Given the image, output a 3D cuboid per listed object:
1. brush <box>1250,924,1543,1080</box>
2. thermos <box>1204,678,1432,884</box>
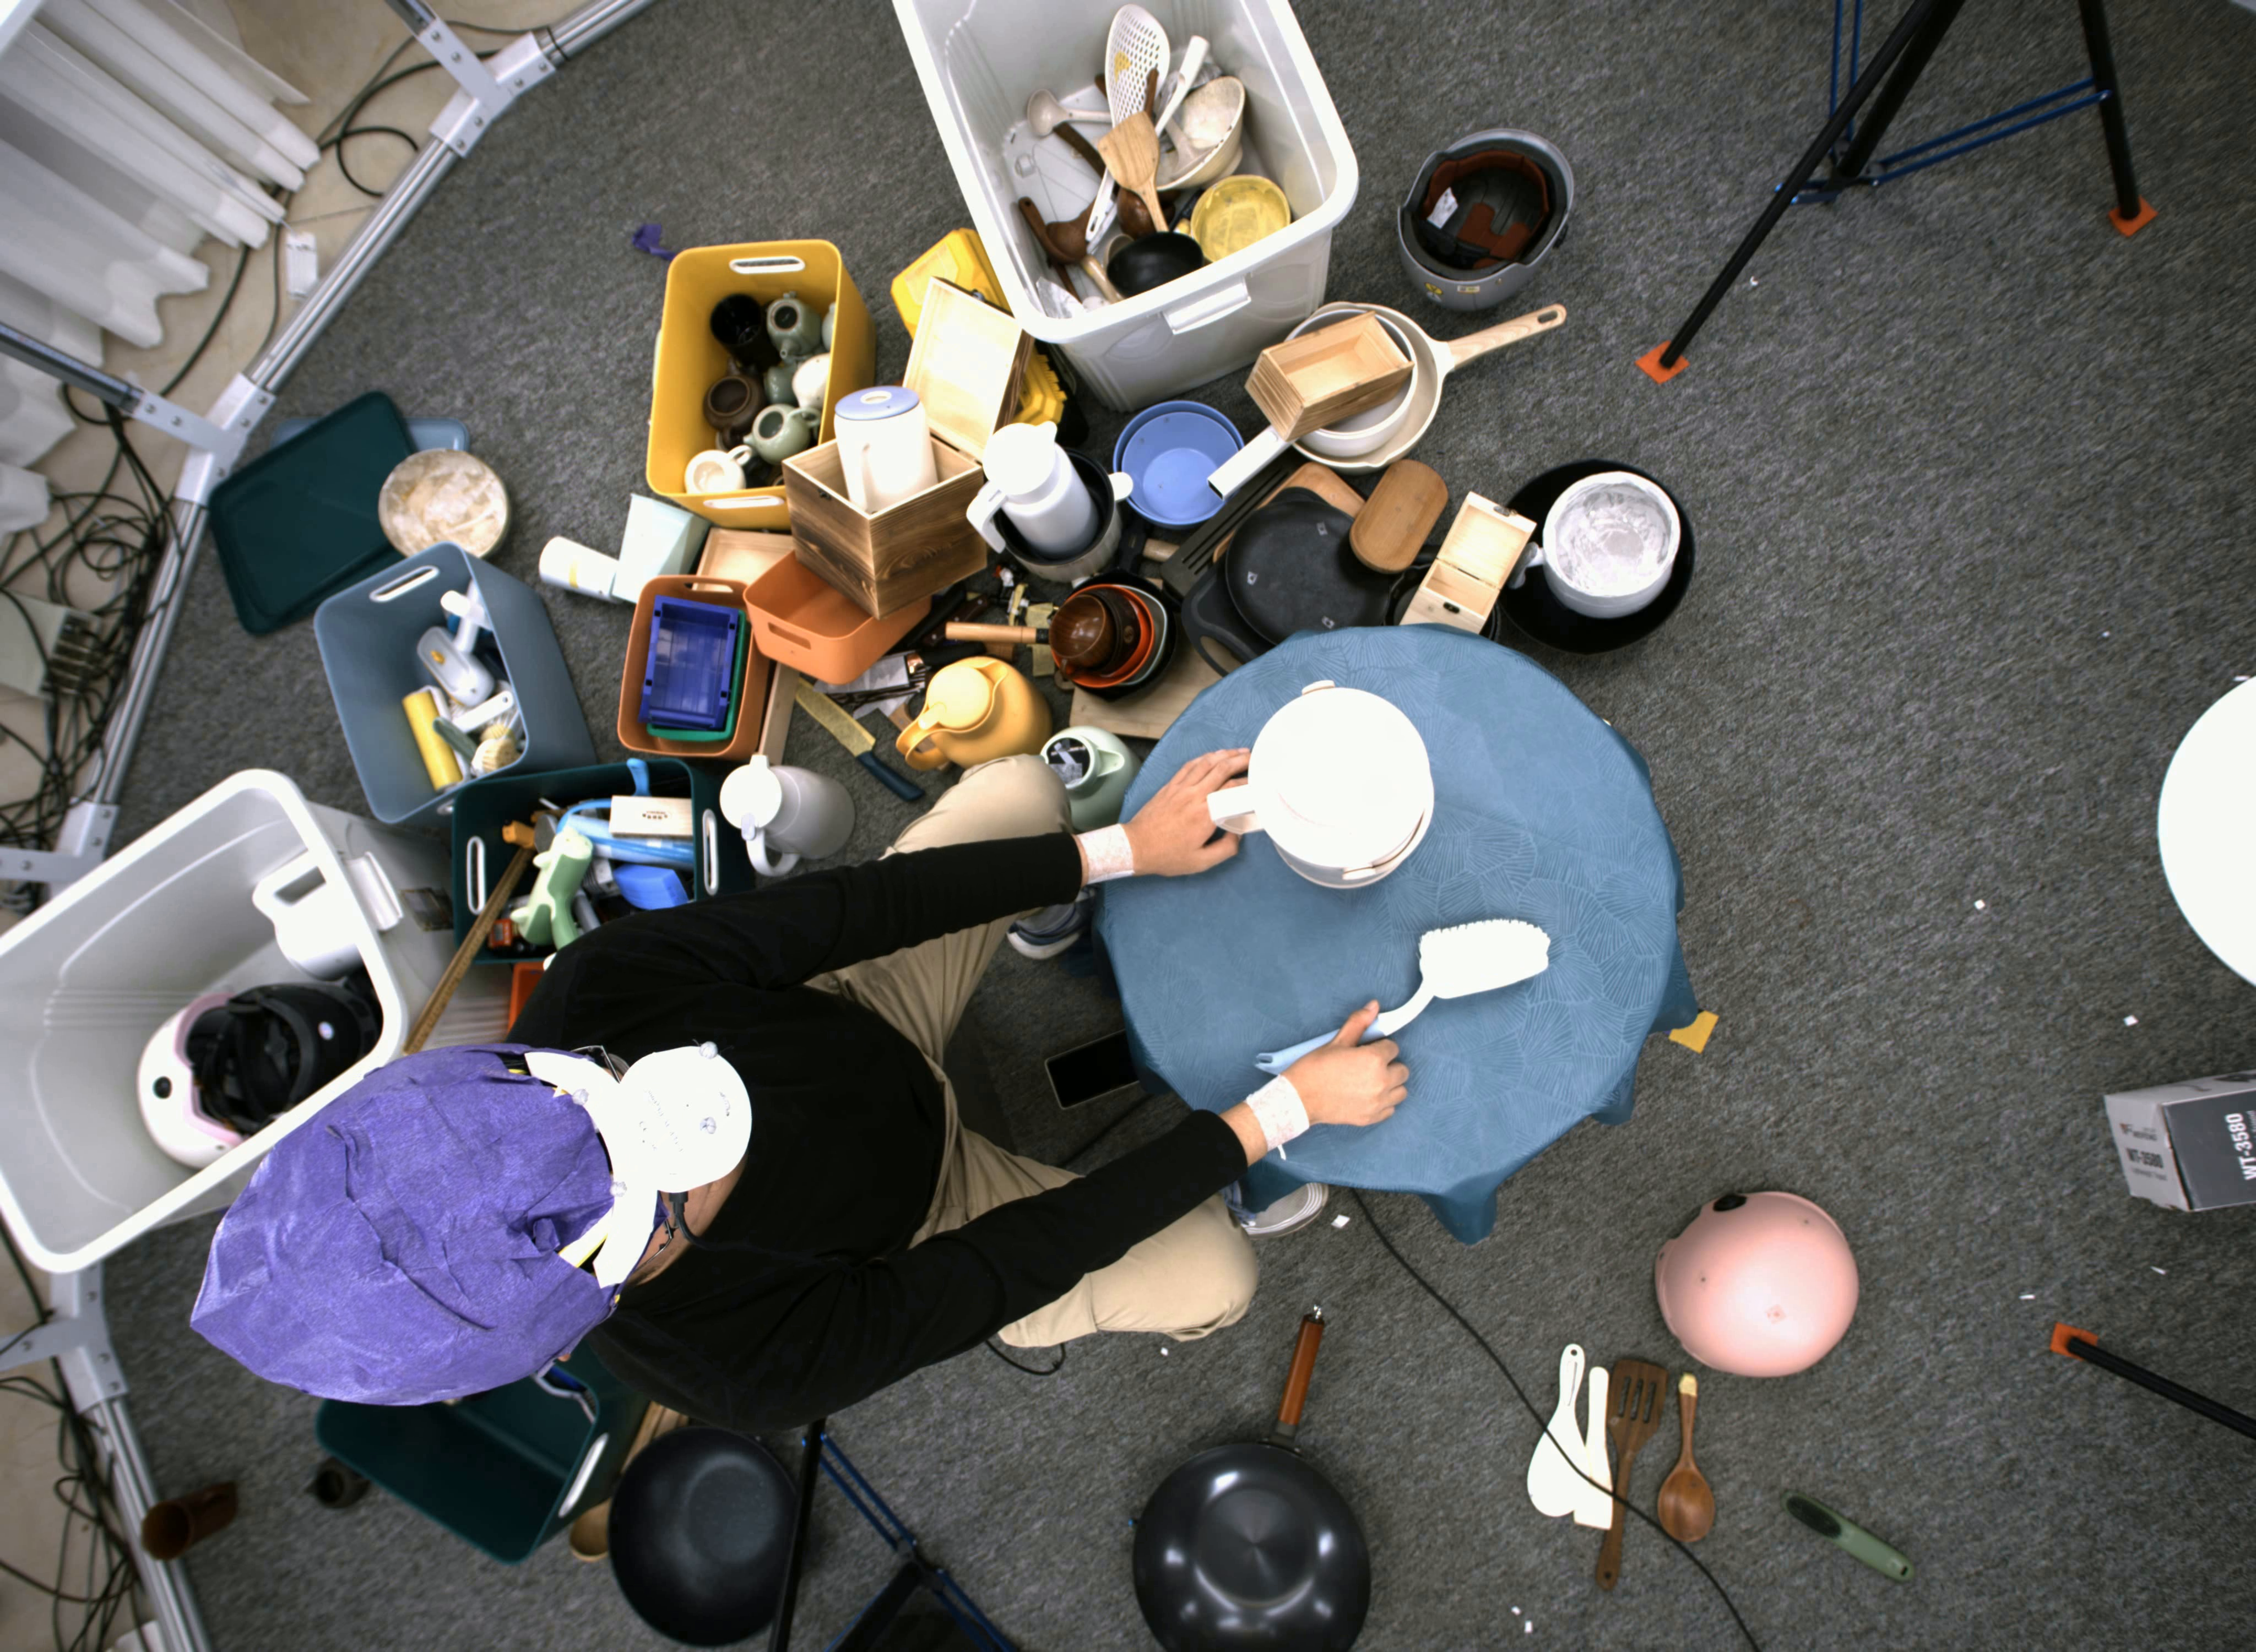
[{"bbox_3d":[0.268,0.172,1.416,0.327,0.083,0.084,-22,84,8],"label":"brush"},{"bbox_3d":[0.181,-0.034,1.281,0.208,0.406,0.174,-13,84,8],"label":"thermos"}]
